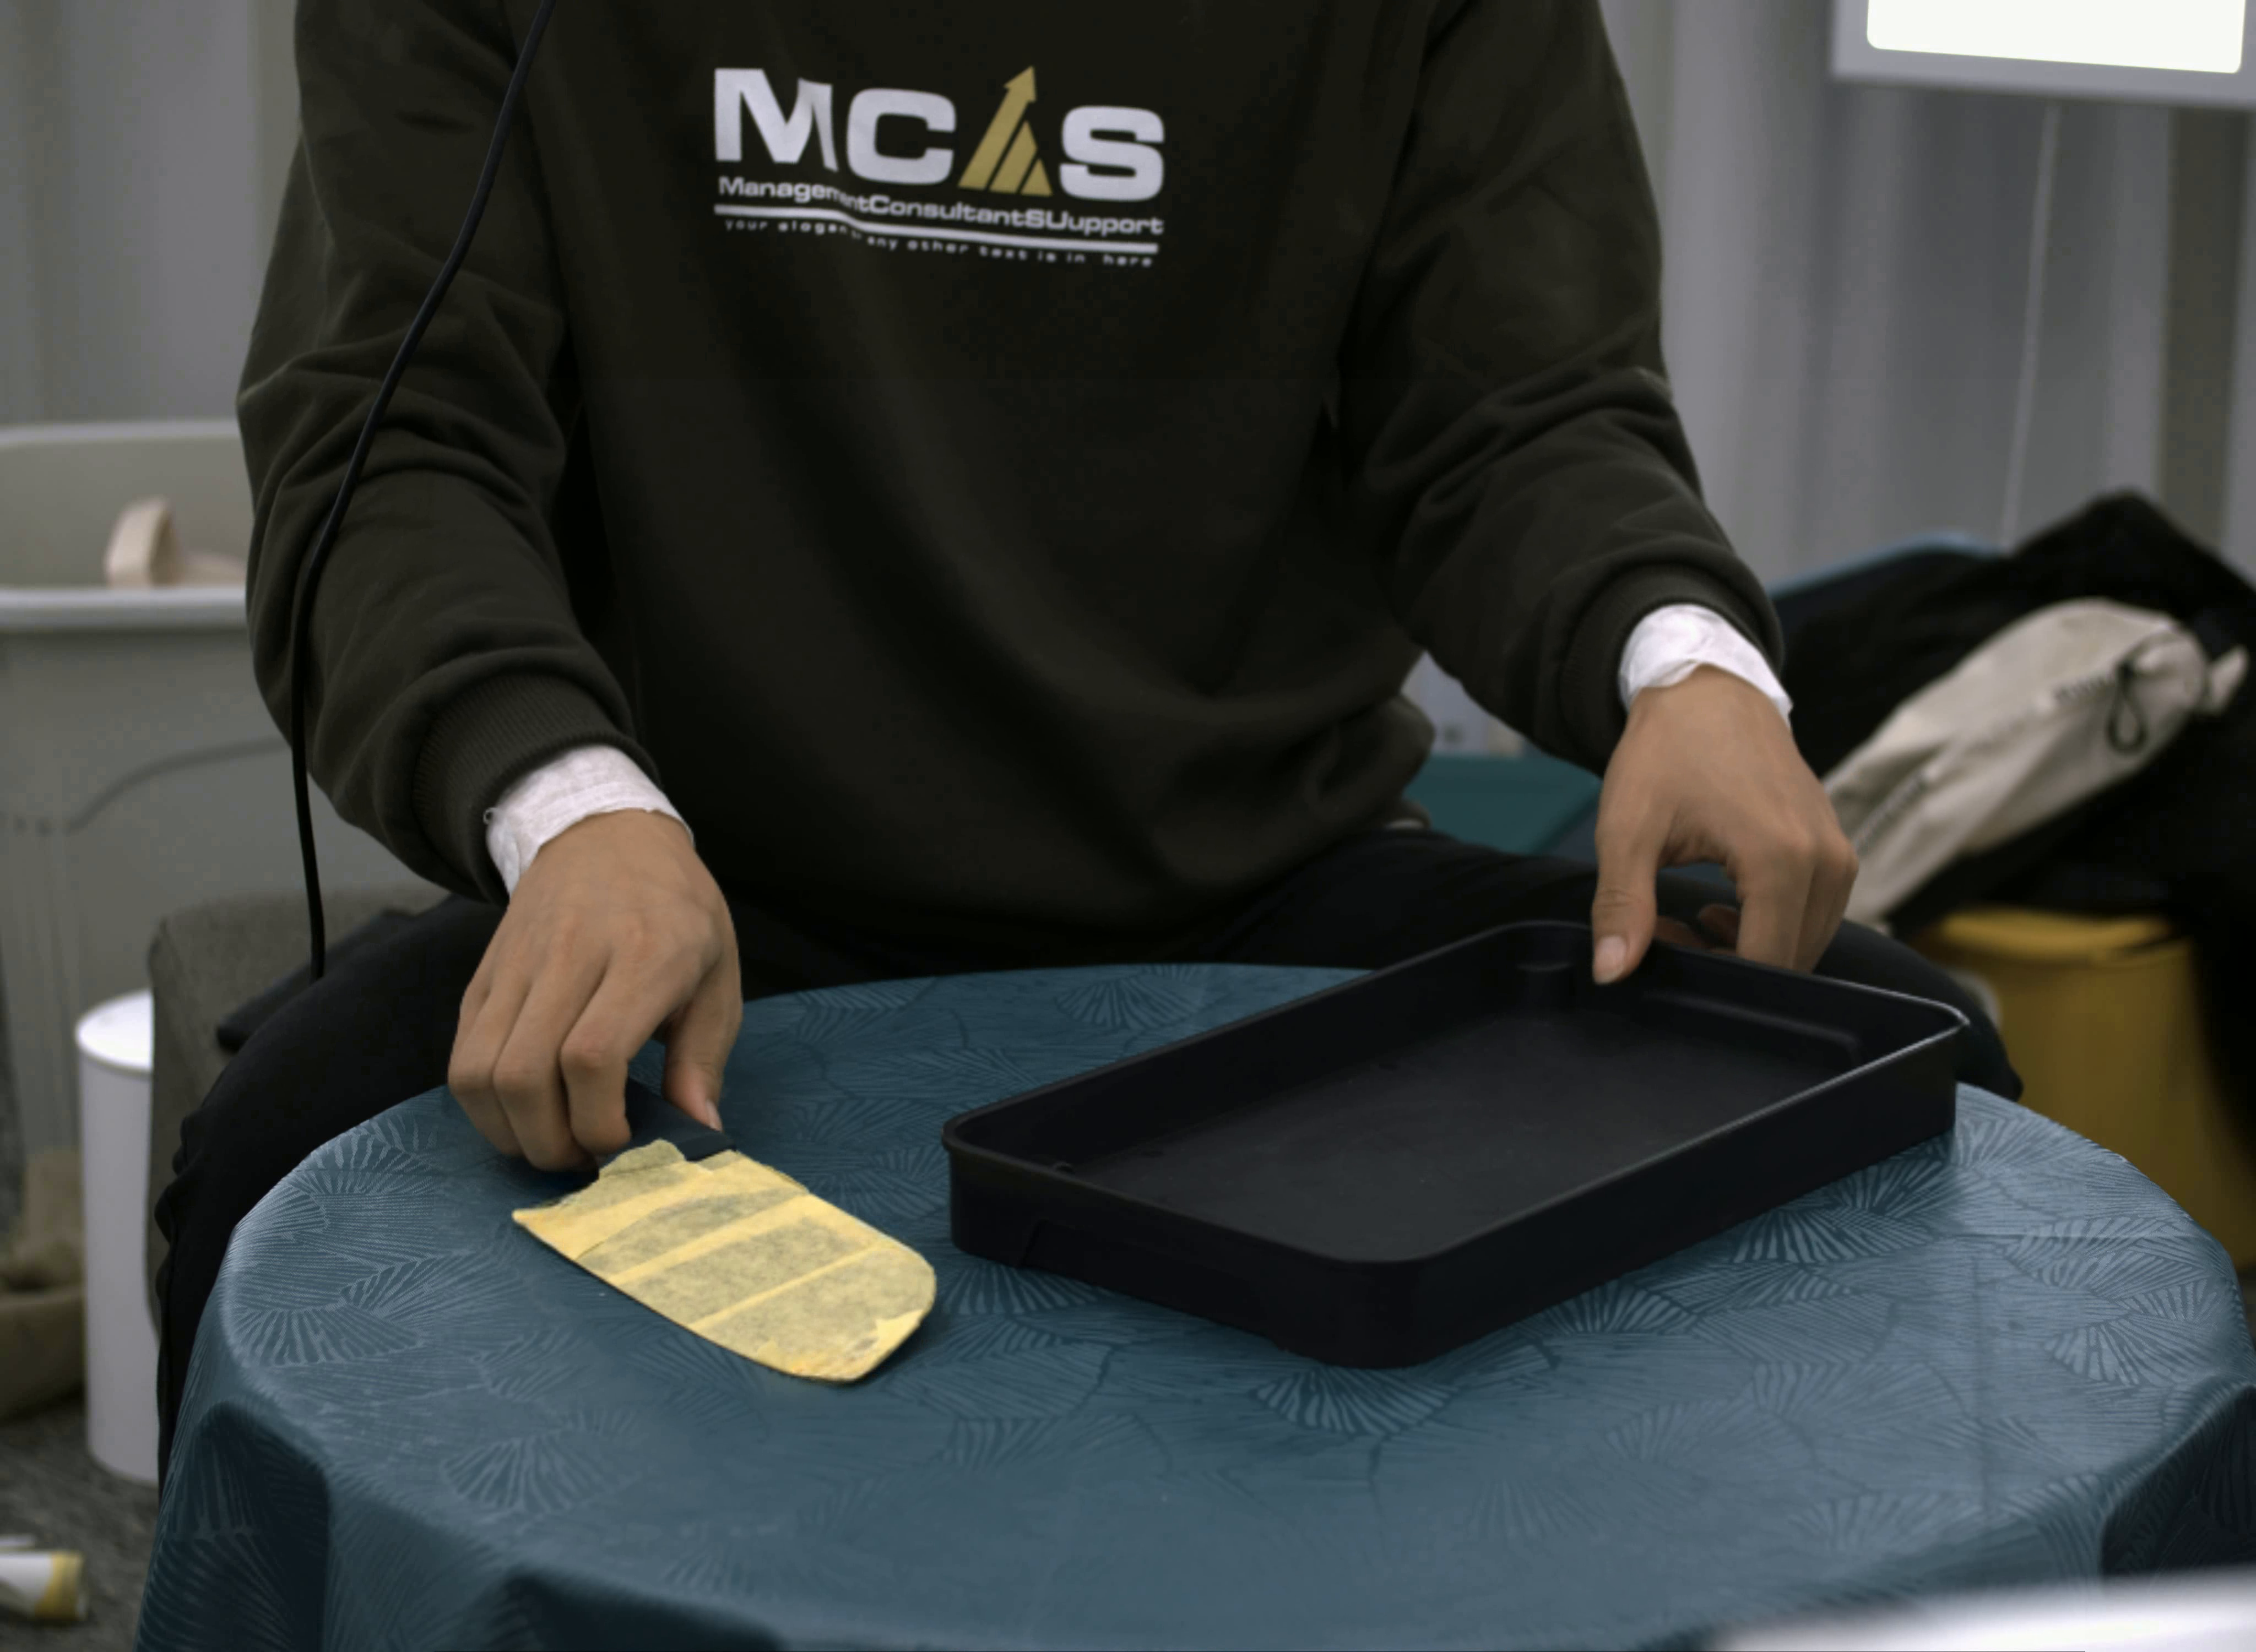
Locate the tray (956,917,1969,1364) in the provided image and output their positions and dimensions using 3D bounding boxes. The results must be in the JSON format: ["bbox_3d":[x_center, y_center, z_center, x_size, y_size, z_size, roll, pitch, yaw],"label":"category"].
[{"bbox_3d":[0.110,0.091,1.639,0.182,0.037,0.319,12,19,37],"label":"tray"}]

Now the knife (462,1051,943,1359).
[{"bbox_3d":[-0.142,0.115,1.586,0.081,0.027,0.286,-15,21,-28],"label":"knife"}]
